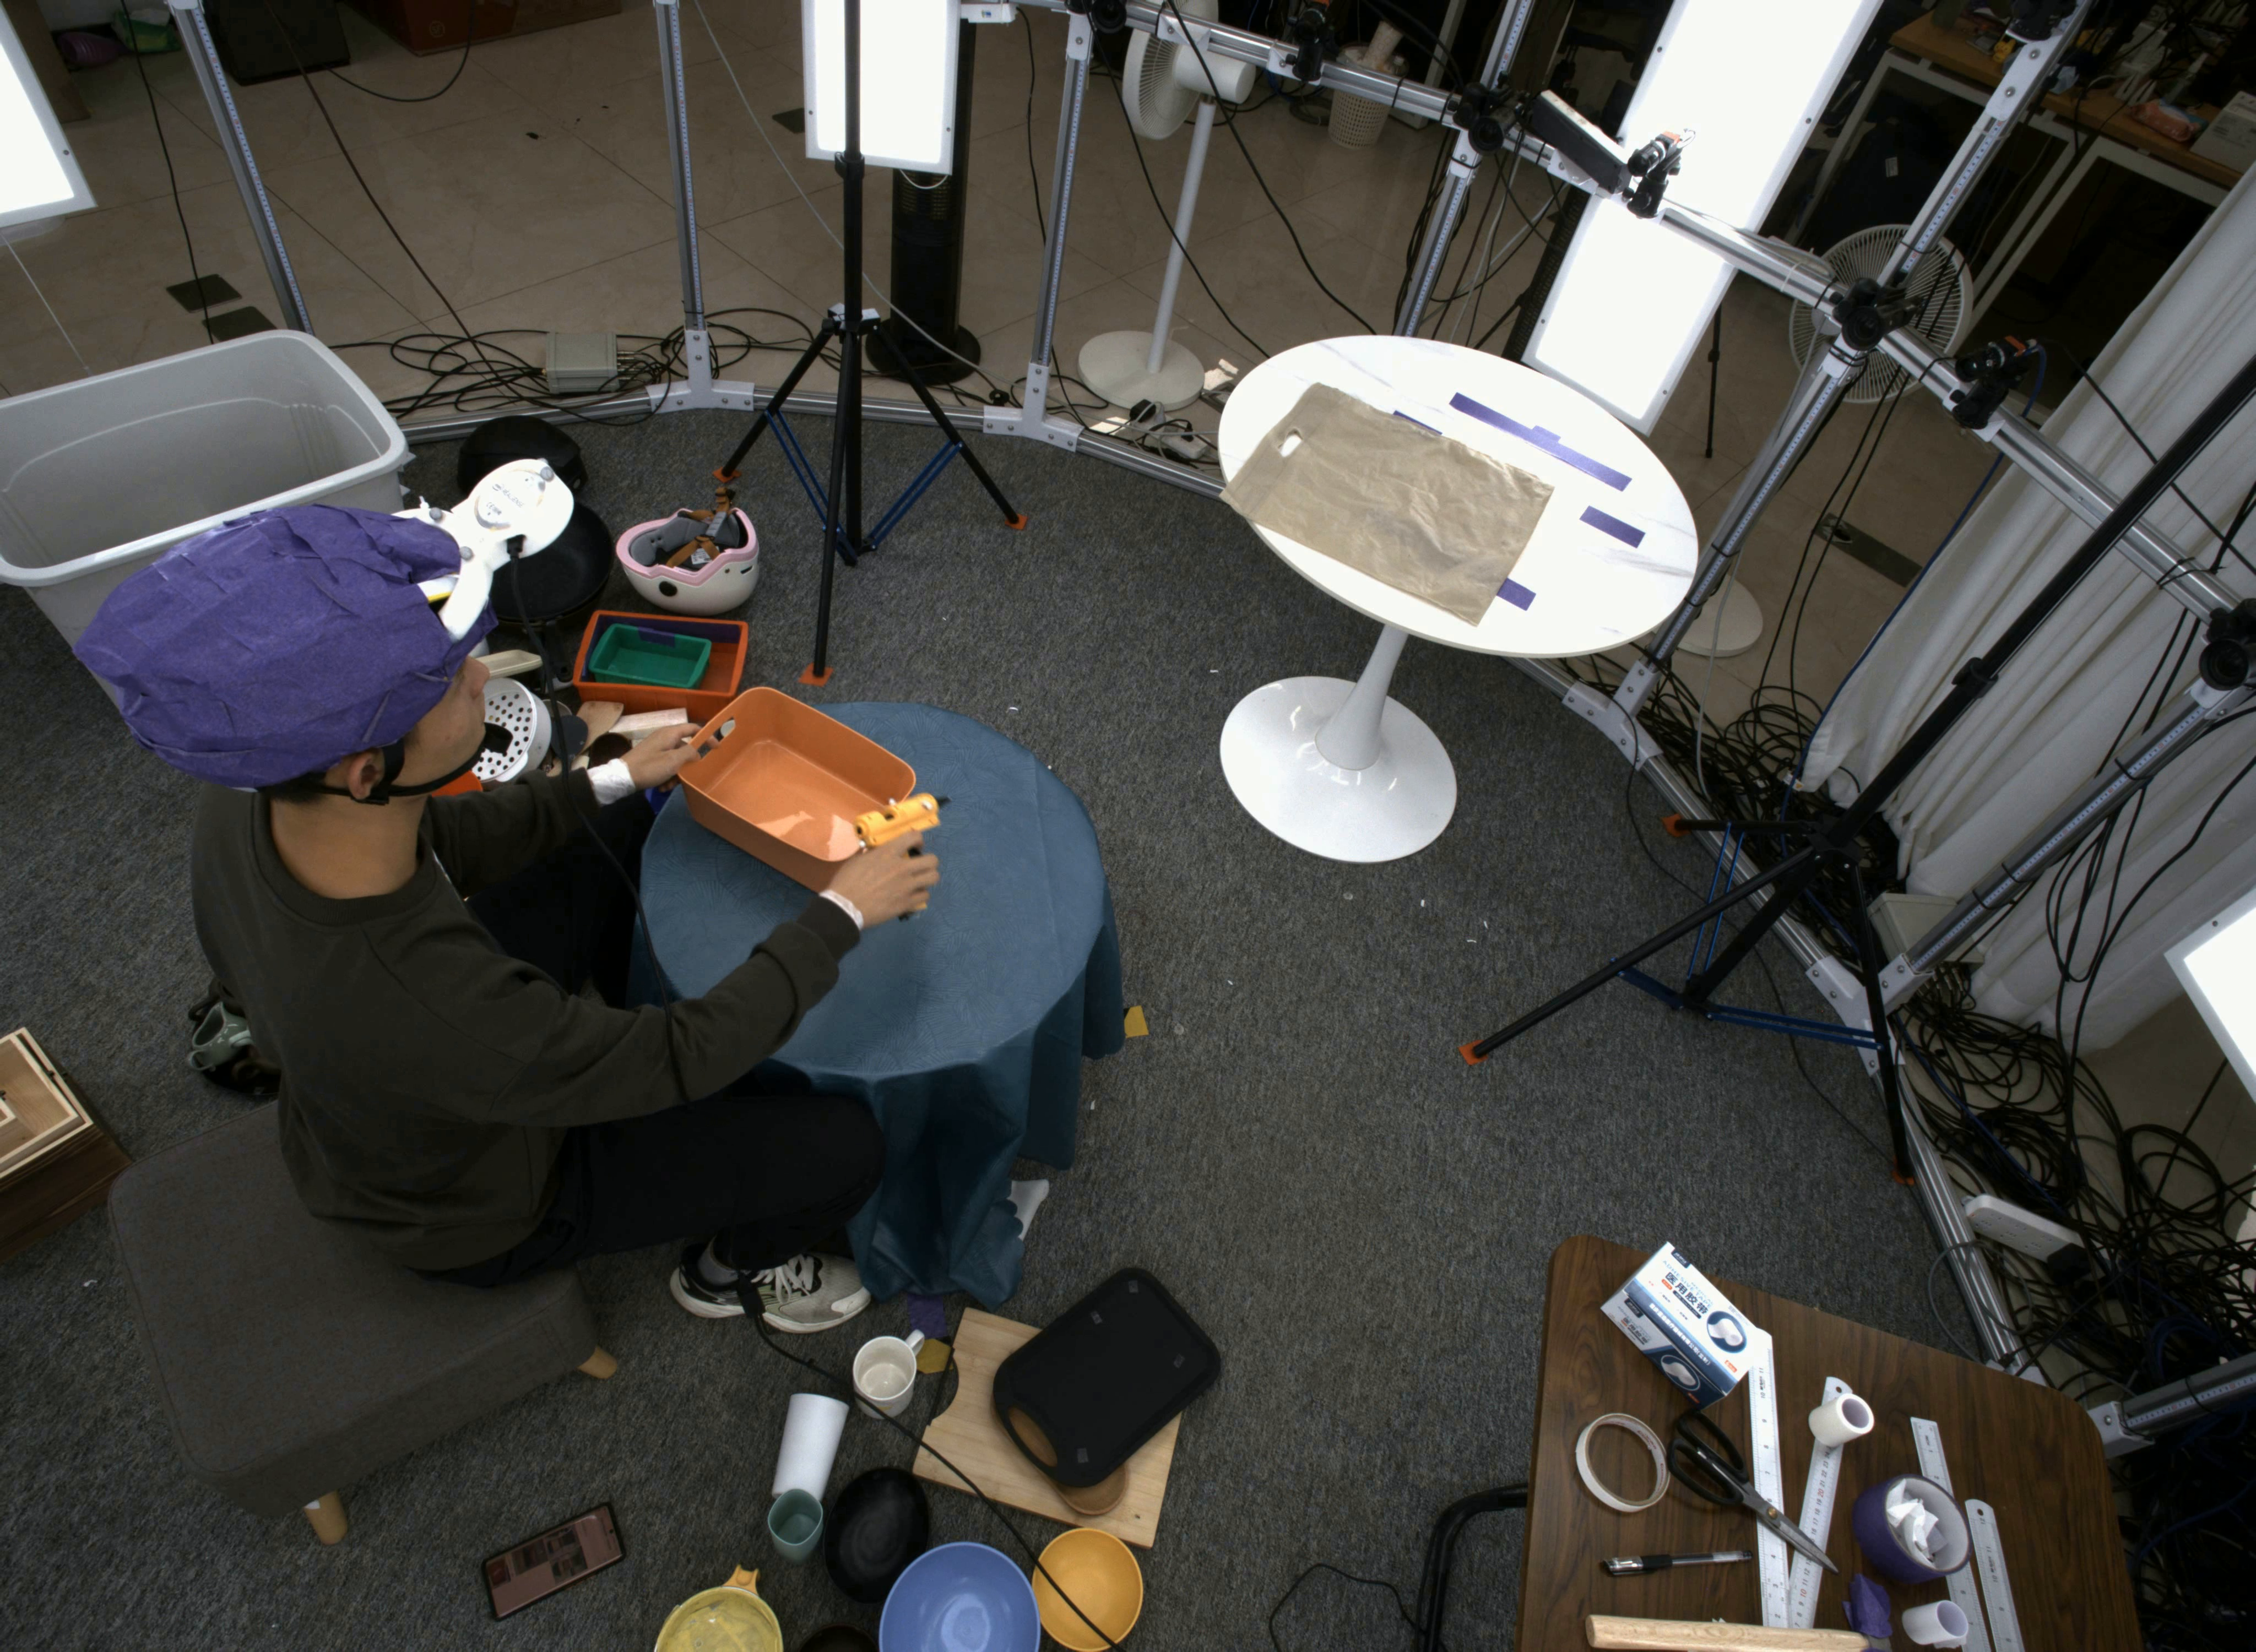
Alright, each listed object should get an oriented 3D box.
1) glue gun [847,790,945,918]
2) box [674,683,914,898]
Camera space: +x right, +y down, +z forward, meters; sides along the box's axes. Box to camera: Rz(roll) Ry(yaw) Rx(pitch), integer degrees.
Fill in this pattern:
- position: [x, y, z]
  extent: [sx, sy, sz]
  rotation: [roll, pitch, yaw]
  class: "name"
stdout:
- position: [-0.253, 0.021, 1.562]
  extent: [0.152, 0.030, 0.135]
  rotation: [-34, 103, -49]
  class: "glue gun"
- position: [-0.431, -0.041, 1.677]
  extent: [0.270, 0.104, 0.198]
  rotation: [30, 54, 5]
  class: "box"
